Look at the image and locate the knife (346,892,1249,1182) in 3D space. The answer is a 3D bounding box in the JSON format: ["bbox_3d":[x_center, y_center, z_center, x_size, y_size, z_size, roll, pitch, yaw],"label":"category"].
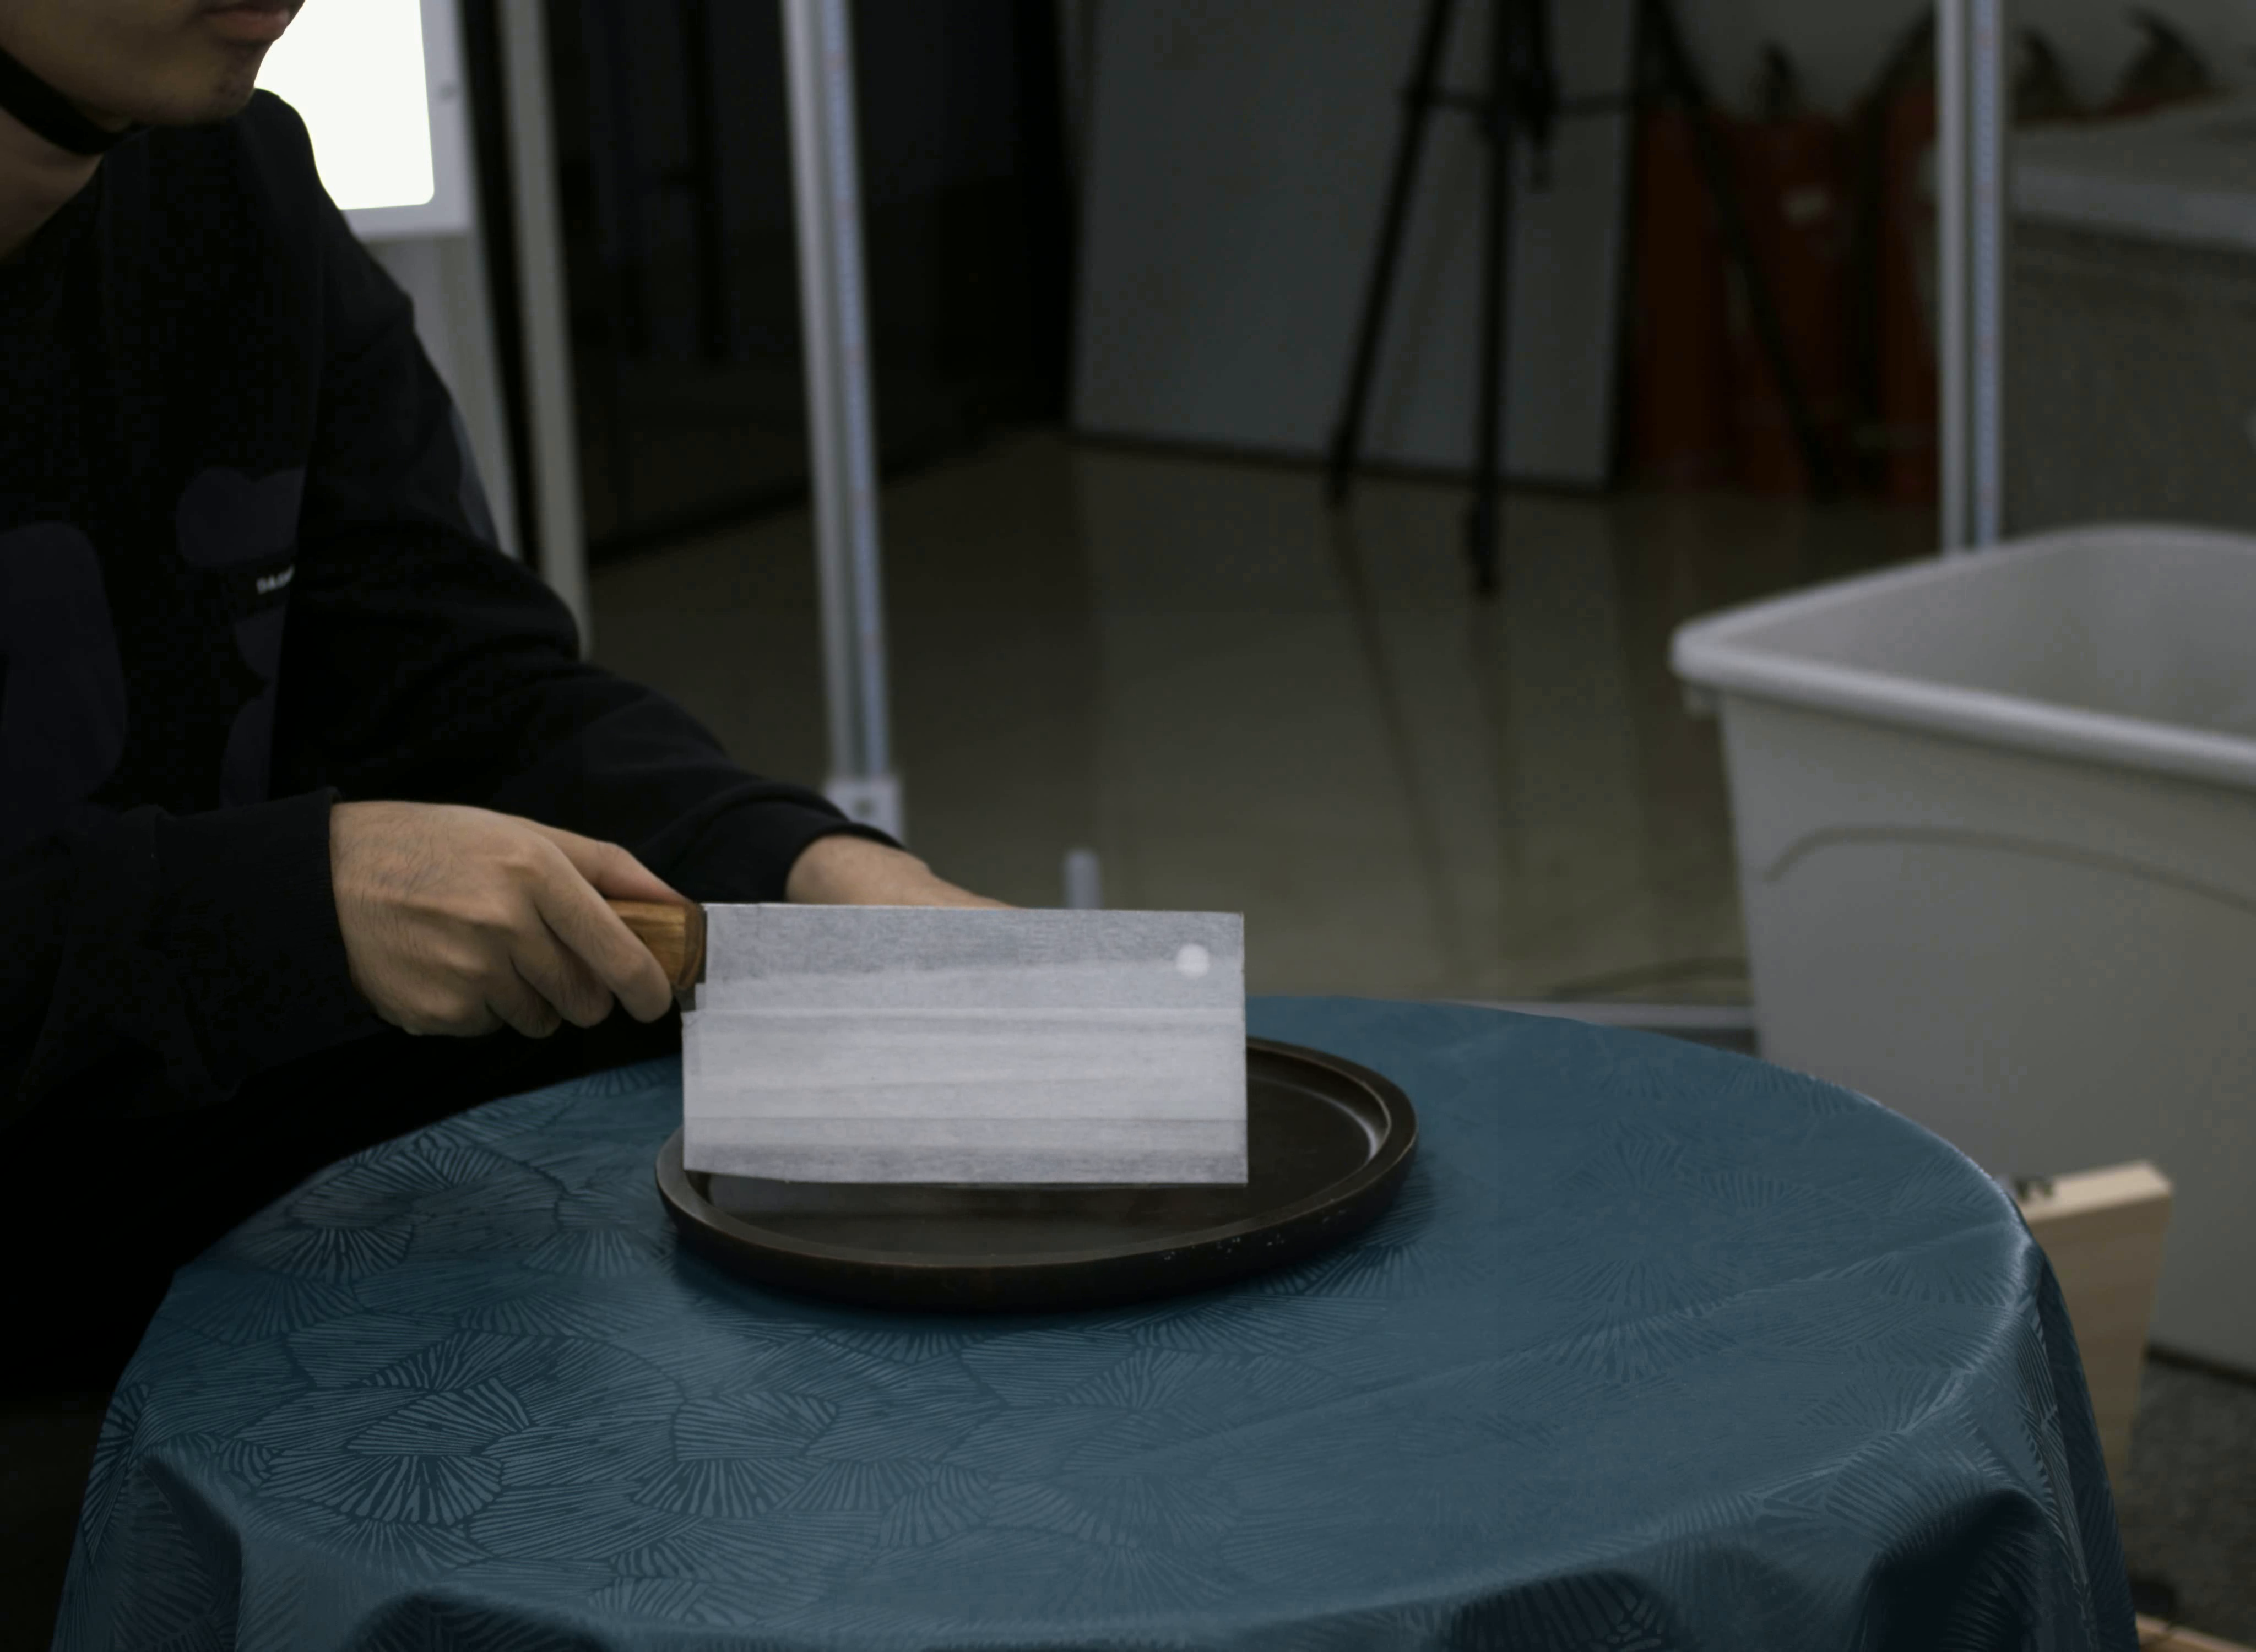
[{"bbox_3d":[-0.108,0.068,1.740,0.304,0.094,0.021,0,7,16],"label":"knife"}]

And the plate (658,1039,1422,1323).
[{"bbox_3d":[-0.028,0.112,1.763,0.251,0.029,0.255,-4,16,0],"label":"plate"}]
